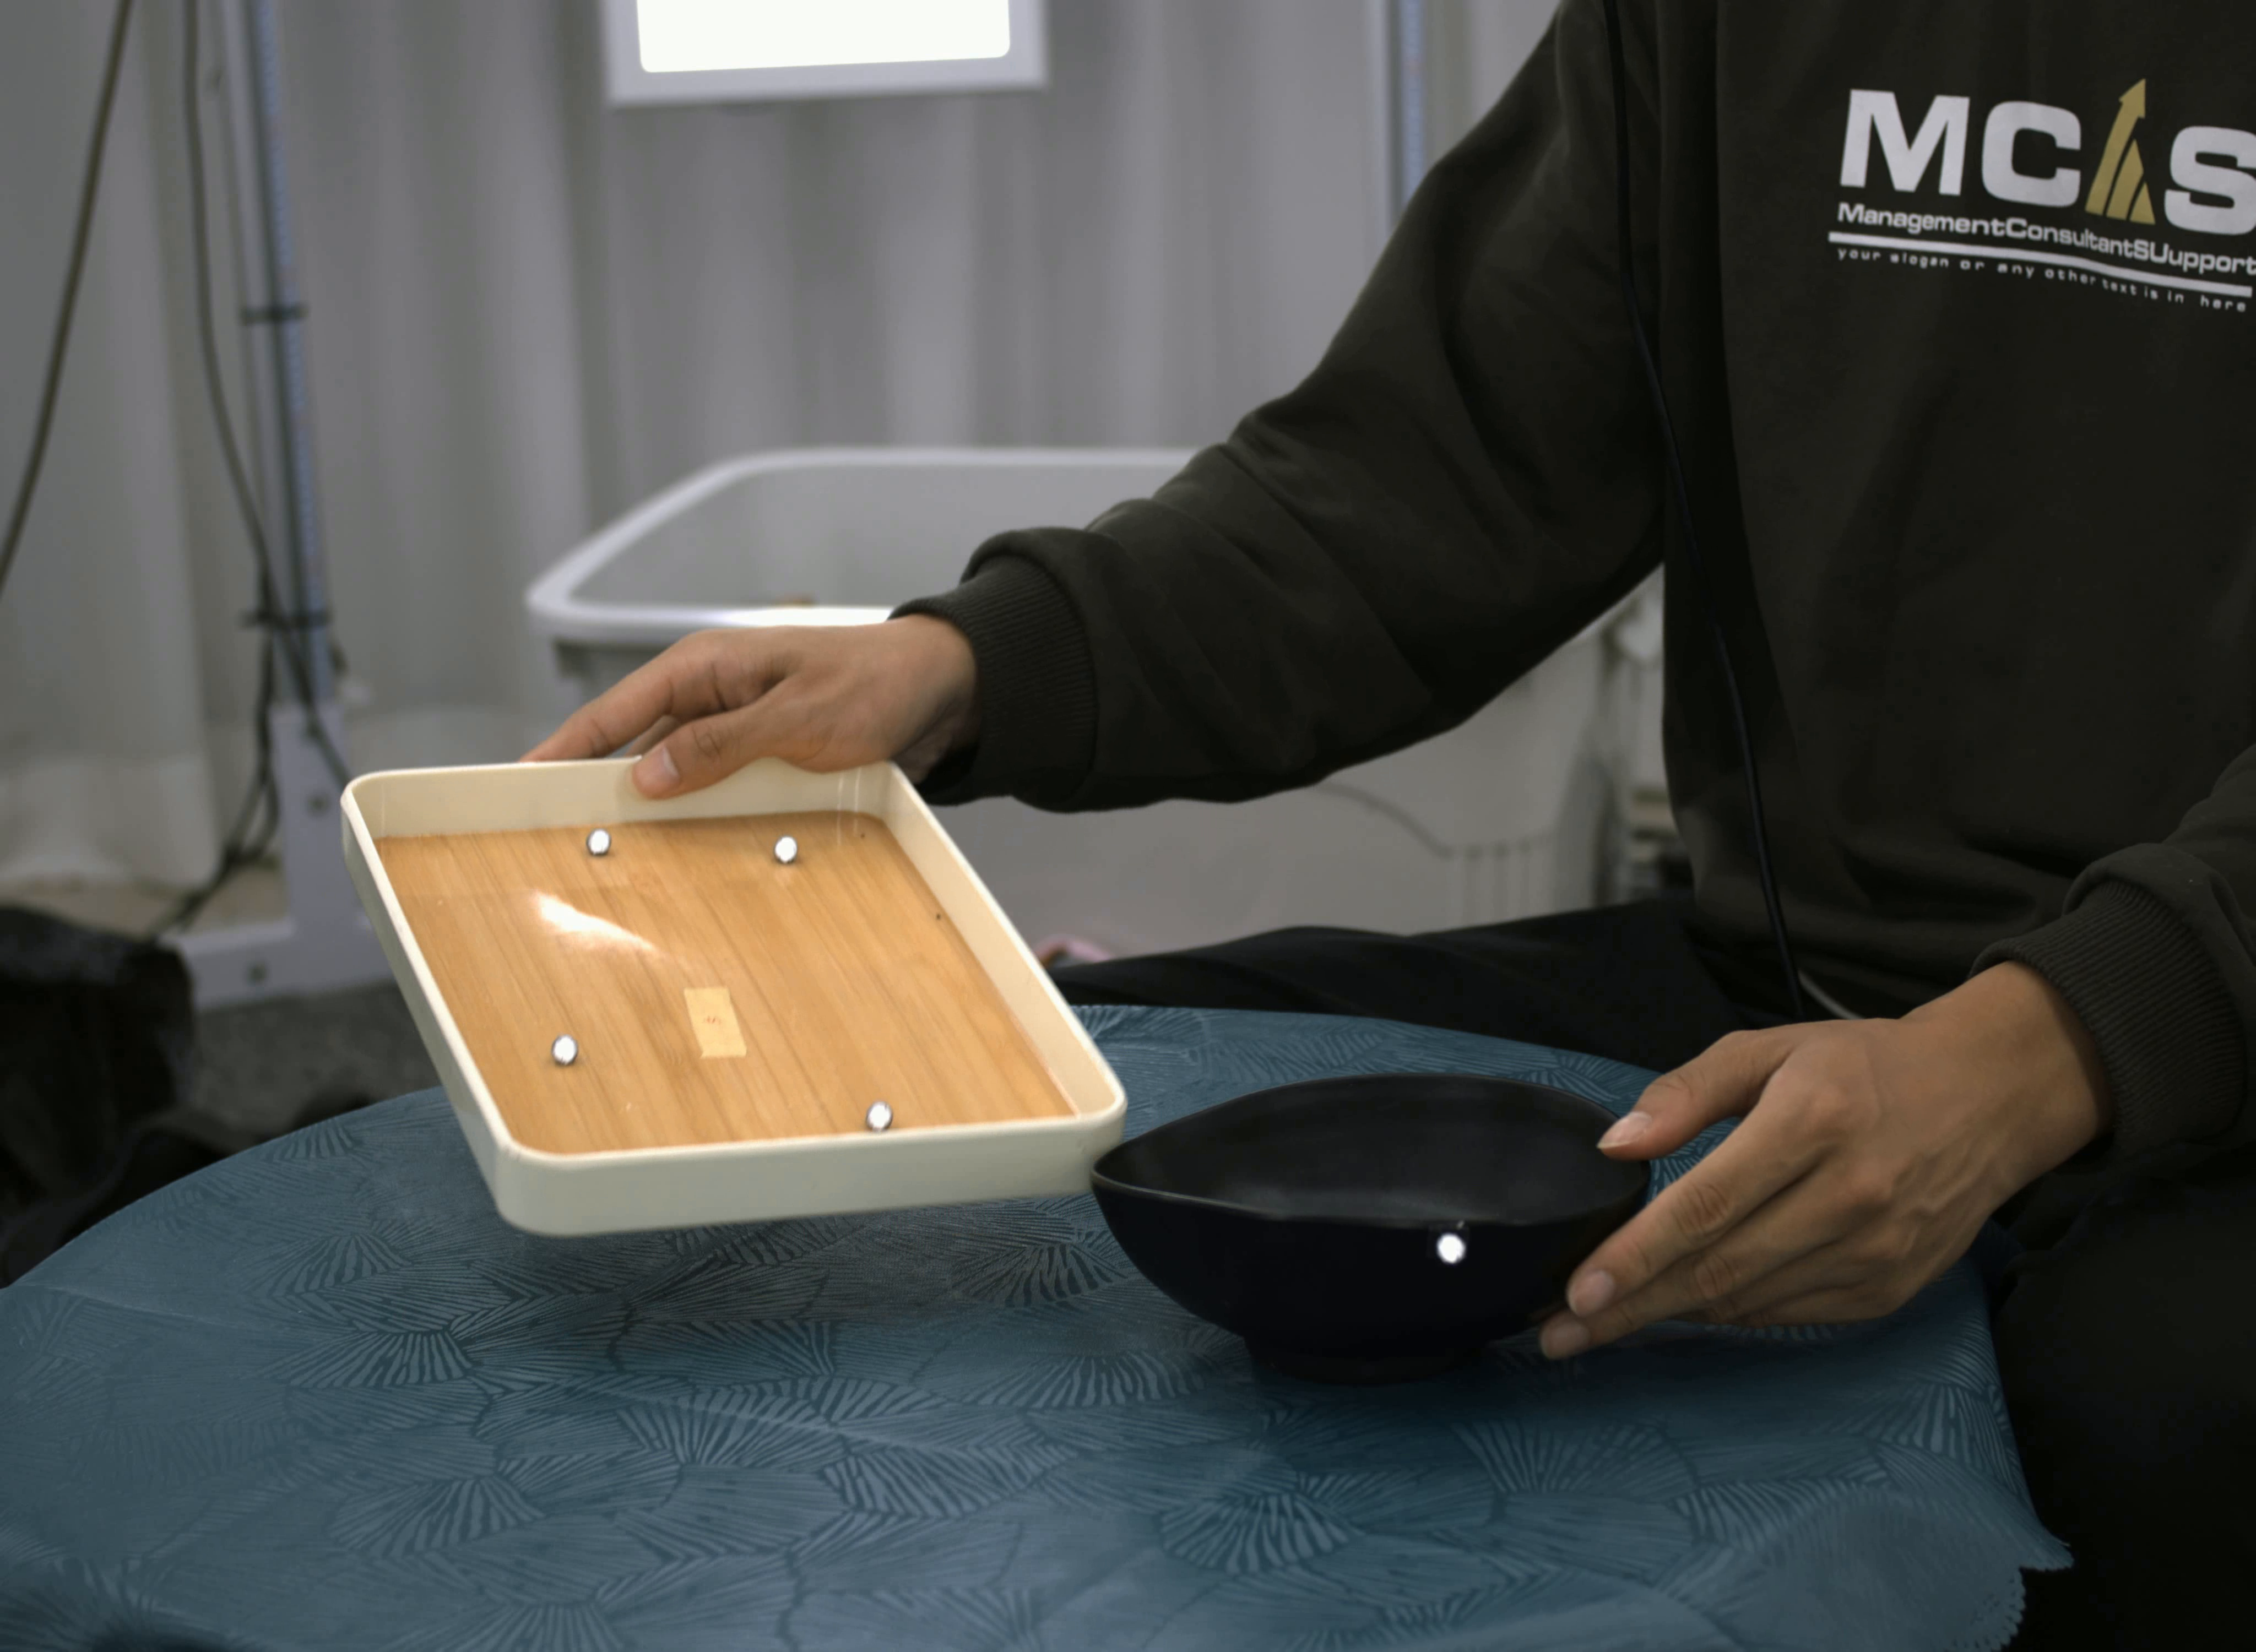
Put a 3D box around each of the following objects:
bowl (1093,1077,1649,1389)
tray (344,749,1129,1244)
[{"bbox_3d":[0.068,0.121,1.566,0.170,0.066,0.137,4,15,31],"label":"bowl"},{"bbox_3d":[-0.130,0.048,1.720,0.190,0.027,0.304,-4,24,-17],"label":"tray"}]
